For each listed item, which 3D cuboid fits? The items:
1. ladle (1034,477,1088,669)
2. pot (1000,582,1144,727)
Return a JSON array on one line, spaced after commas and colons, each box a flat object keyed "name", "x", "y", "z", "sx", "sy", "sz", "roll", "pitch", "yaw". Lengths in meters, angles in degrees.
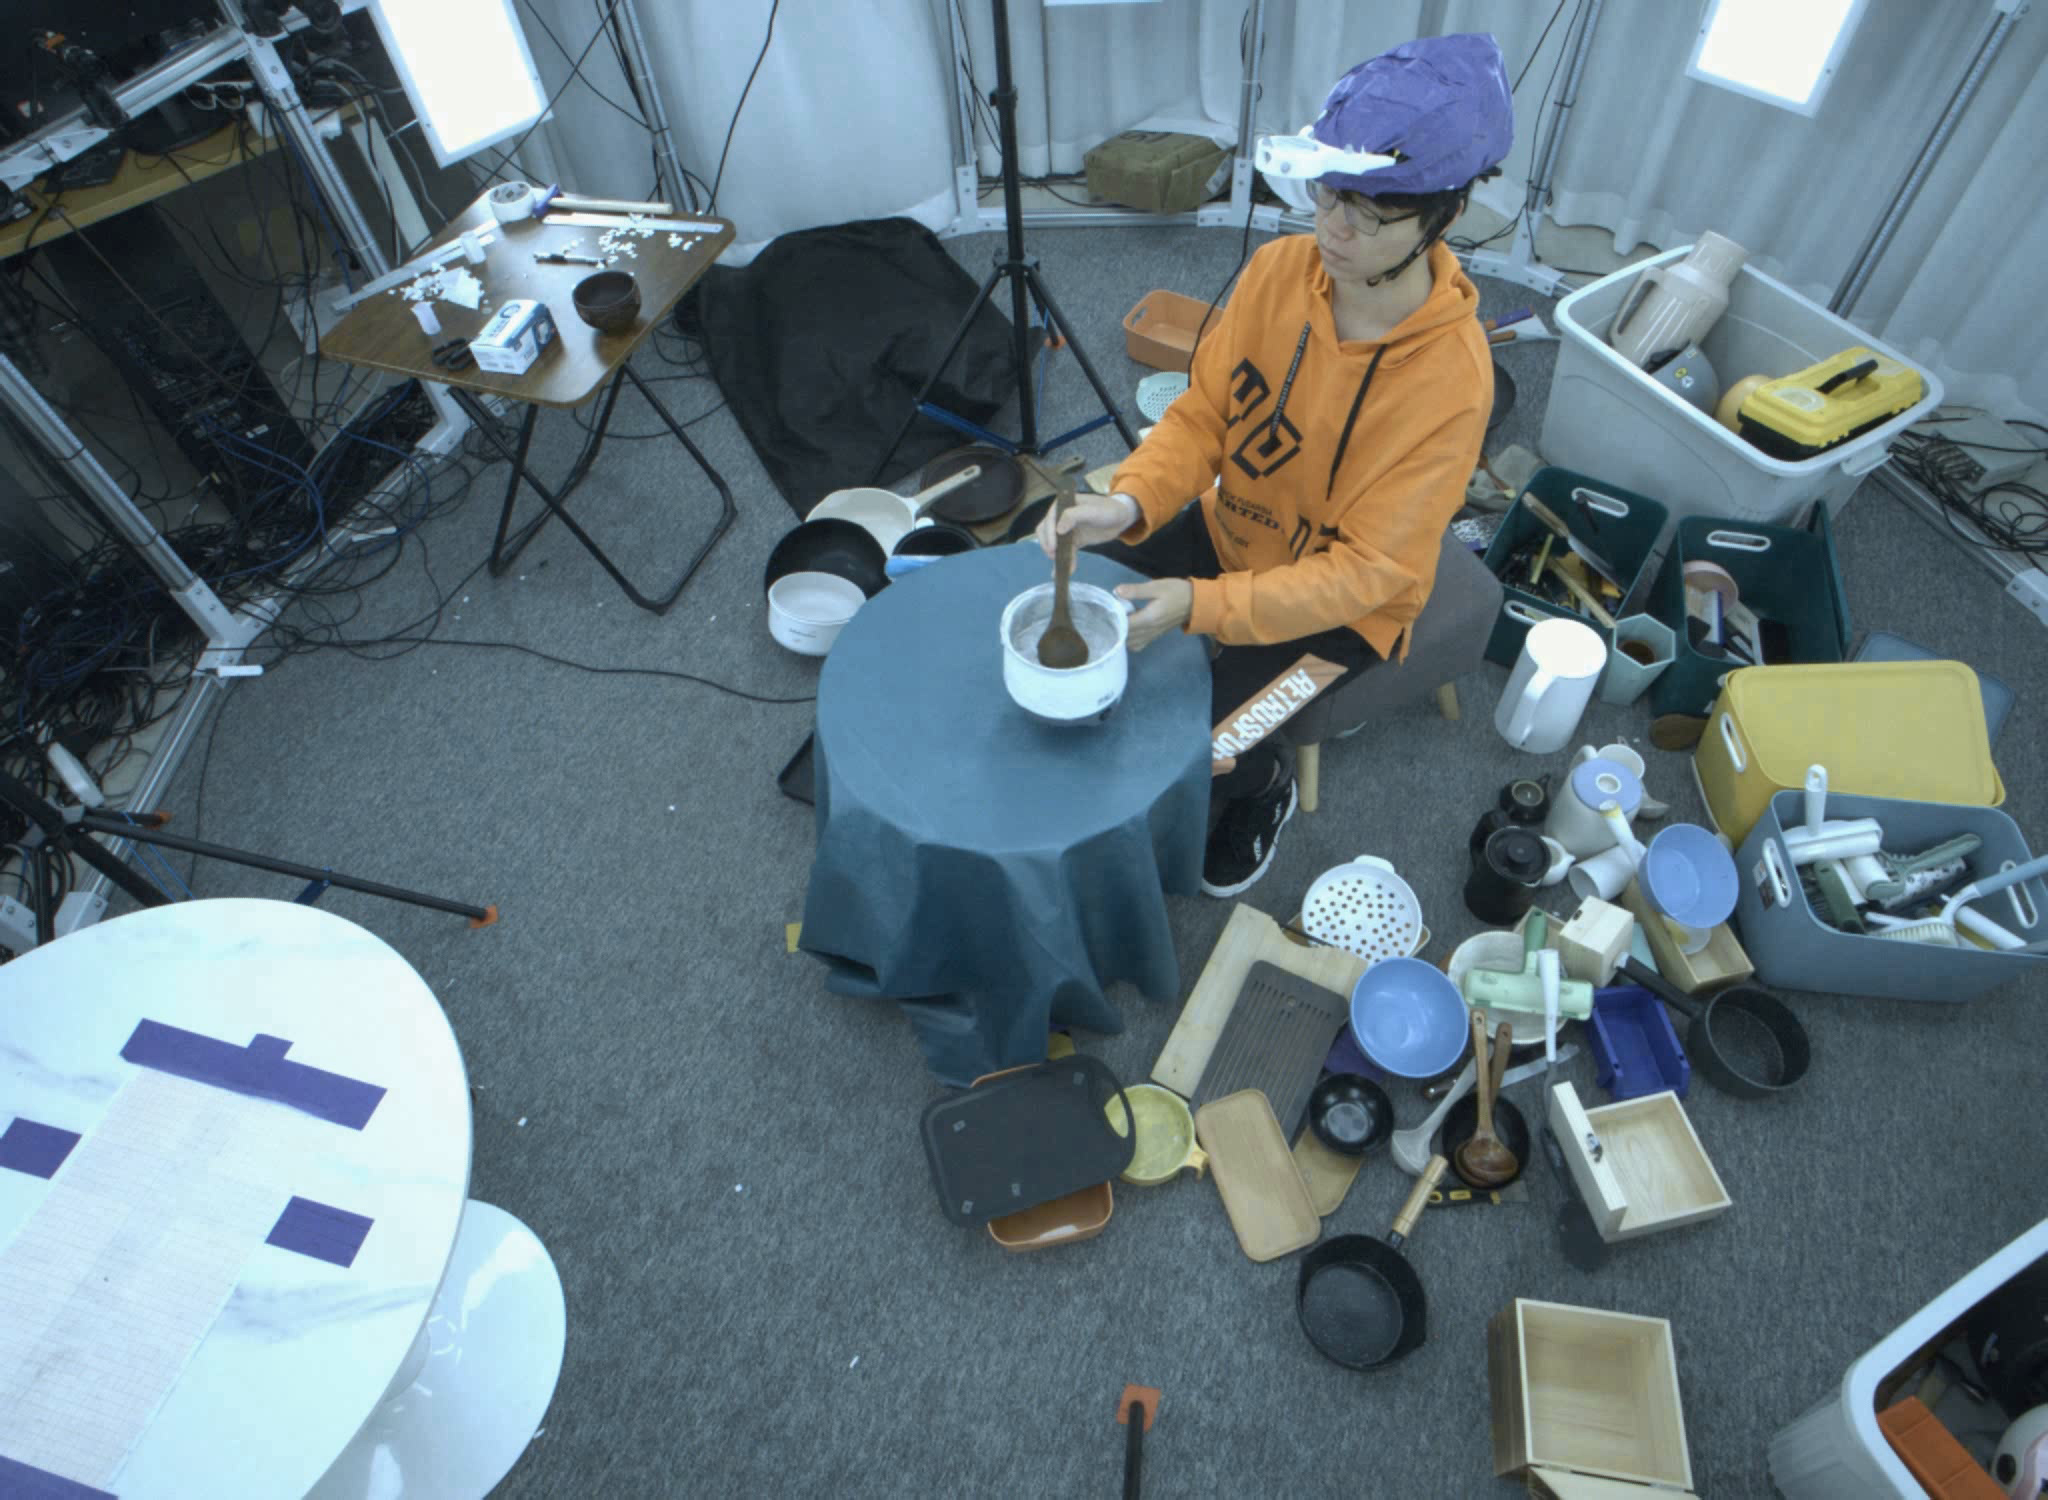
[{"name": "ladle", "x": 0.055, "y": -0.244, "z": 1.694, "sx": 0.077, "sy": 0.070, "sz": 0.274, "roll": 1, "pitch": 96, "yaw": -13}, {"name": "pot", "x": 0.078, "y": -0.146, "z": 1.757, "sx": 0.236, "sy": 0.138, "sz": 0.175, "roll": -35, "pitch": 59, "yaw": -24}]
